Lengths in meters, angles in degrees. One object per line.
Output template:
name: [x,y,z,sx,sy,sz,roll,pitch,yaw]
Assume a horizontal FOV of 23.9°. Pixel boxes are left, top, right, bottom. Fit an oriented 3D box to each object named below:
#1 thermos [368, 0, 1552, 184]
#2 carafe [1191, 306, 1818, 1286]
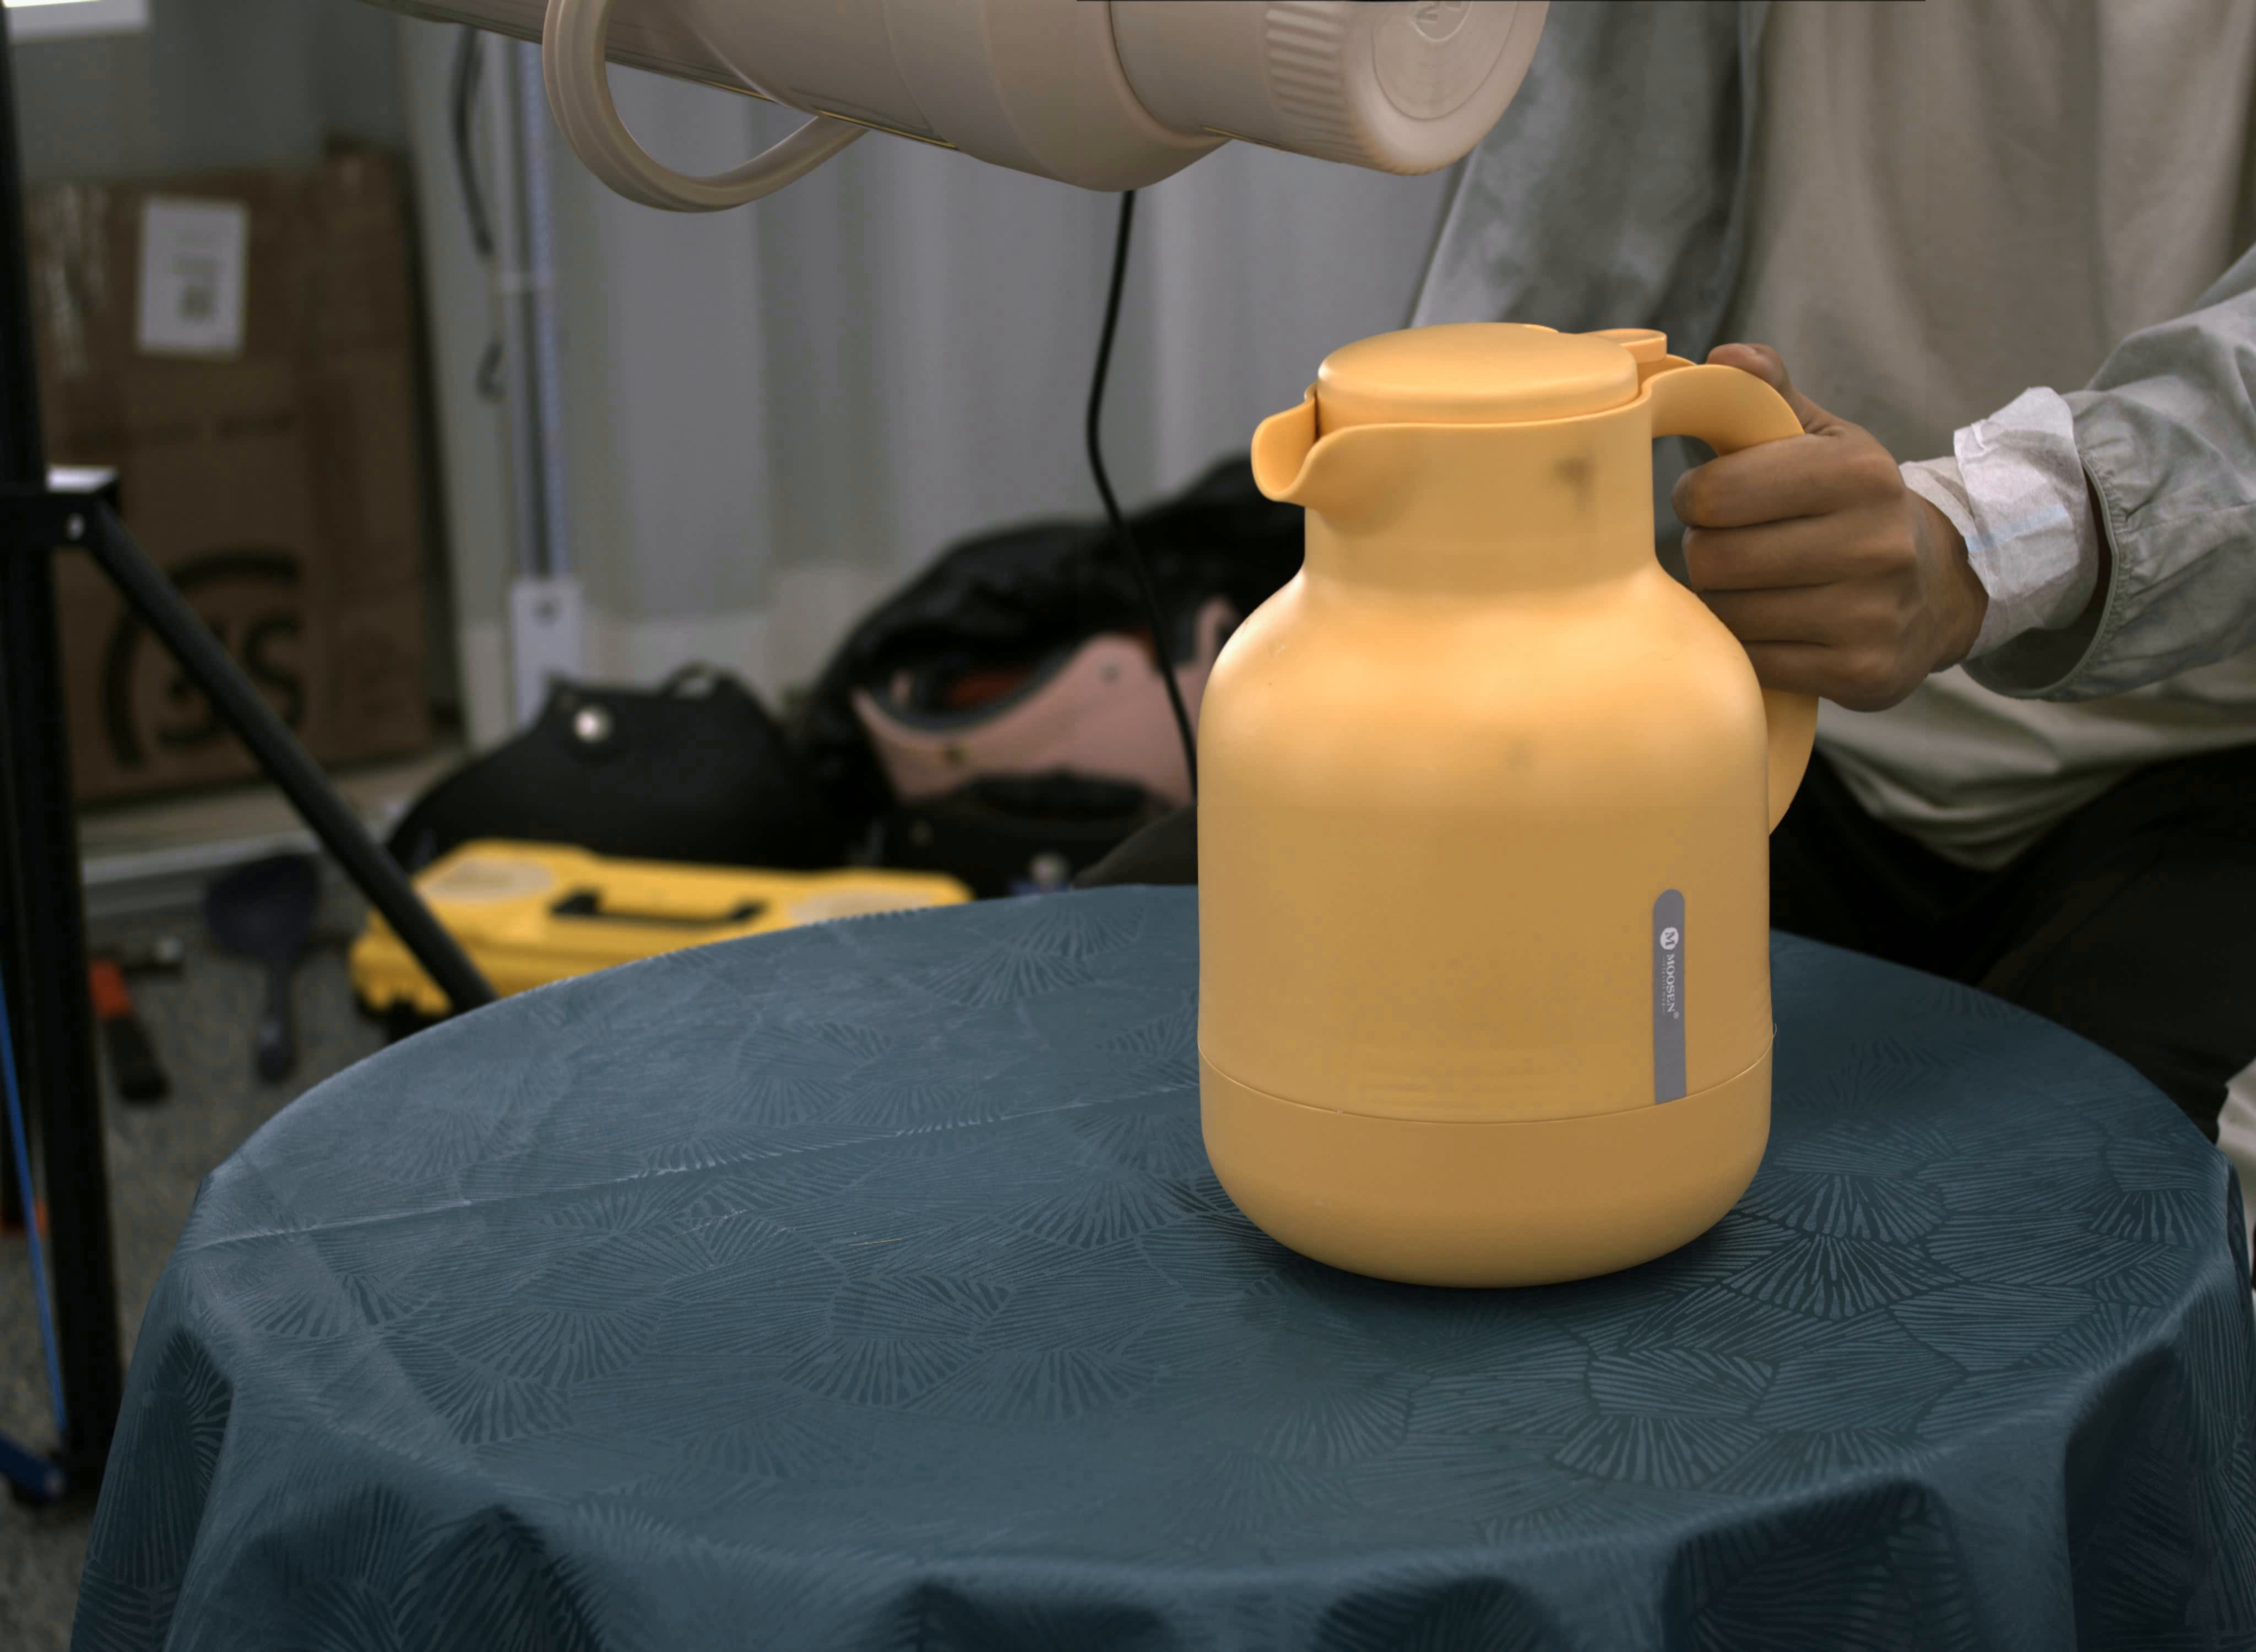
thermos: [-0.061,-0.297,1.565,0.415,0.208,0.171,19,2,37]
carafe: [0.115,-0.015,1.494,0.198,0.260,0.167,-13,21,-32]
